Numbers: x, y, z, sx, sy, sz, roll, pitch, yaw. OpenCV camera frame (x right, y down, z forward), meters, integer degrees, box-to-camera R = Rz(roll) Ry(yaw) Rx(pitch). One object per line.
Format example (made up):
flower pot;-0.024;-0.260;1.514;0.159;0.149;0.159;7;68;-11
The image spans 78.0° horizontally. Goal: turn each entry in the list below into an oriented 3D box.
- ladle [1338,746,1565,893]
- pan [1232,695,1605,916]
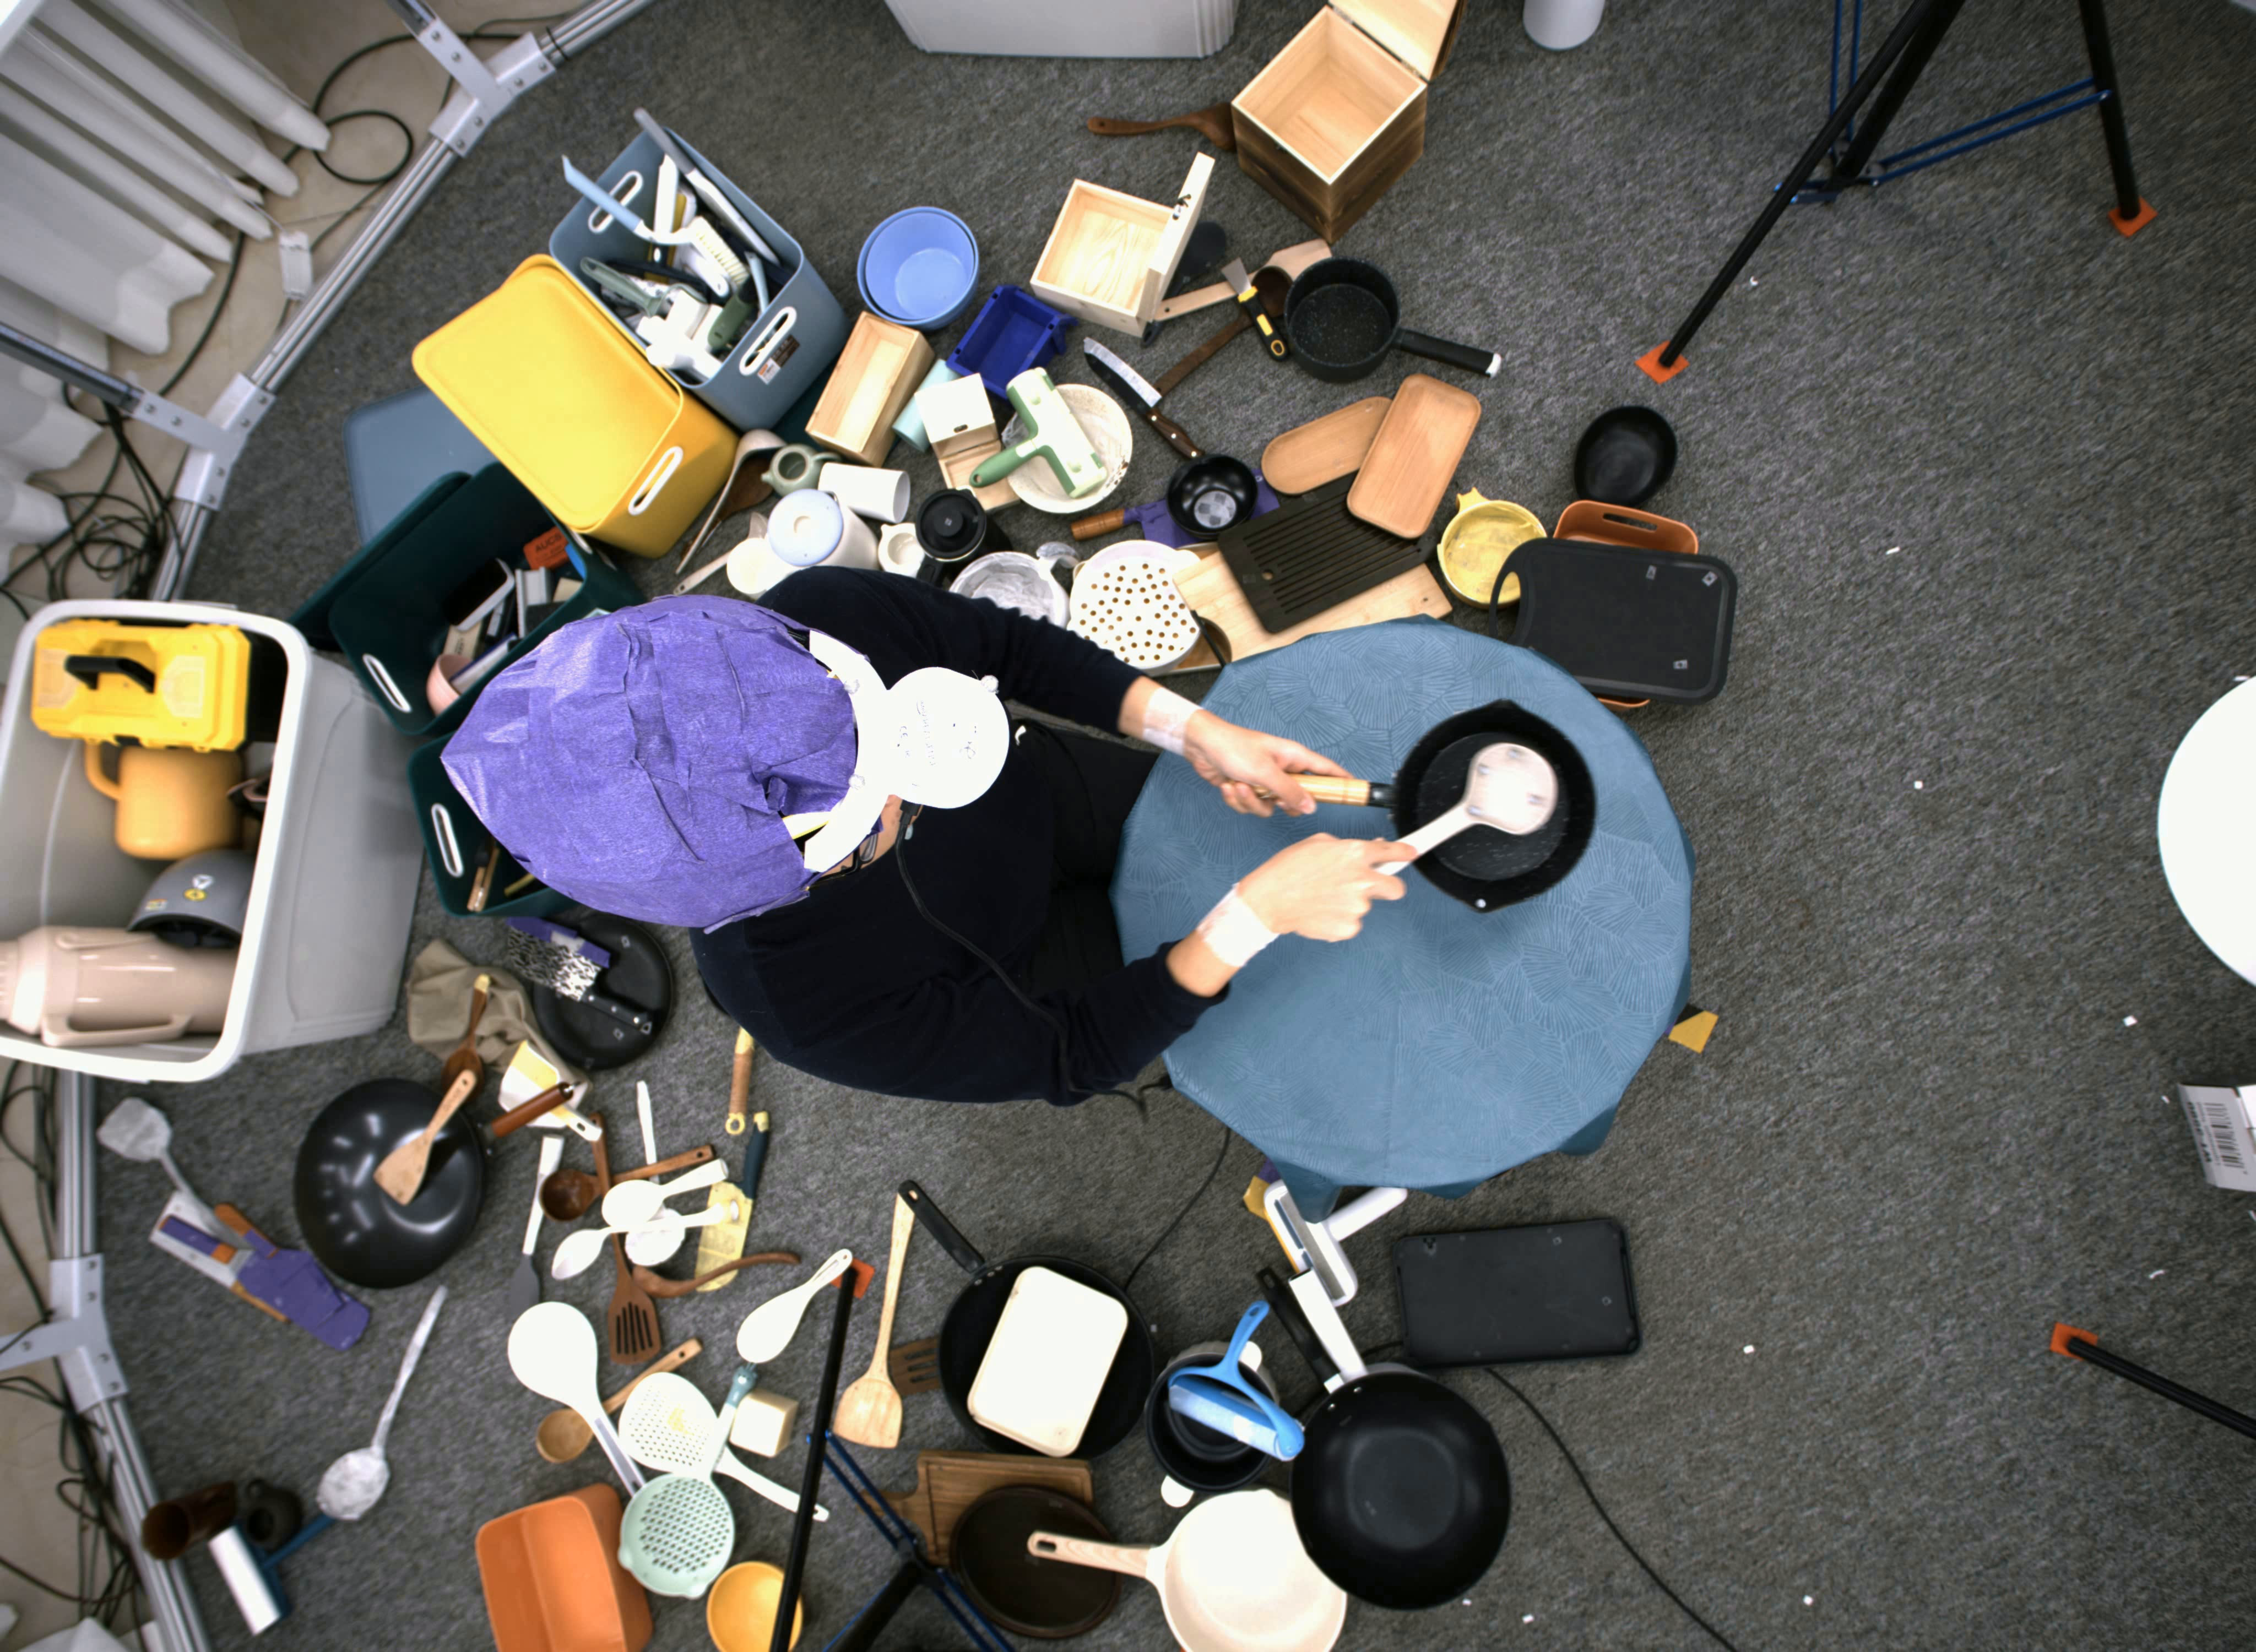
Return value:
ladle;0.297;-0.001;1.243;0.070;0.270;0.089;-22;91;51
pan;0.274;-0.027;1.313;0.344;0.107;0.208;5;96;12
